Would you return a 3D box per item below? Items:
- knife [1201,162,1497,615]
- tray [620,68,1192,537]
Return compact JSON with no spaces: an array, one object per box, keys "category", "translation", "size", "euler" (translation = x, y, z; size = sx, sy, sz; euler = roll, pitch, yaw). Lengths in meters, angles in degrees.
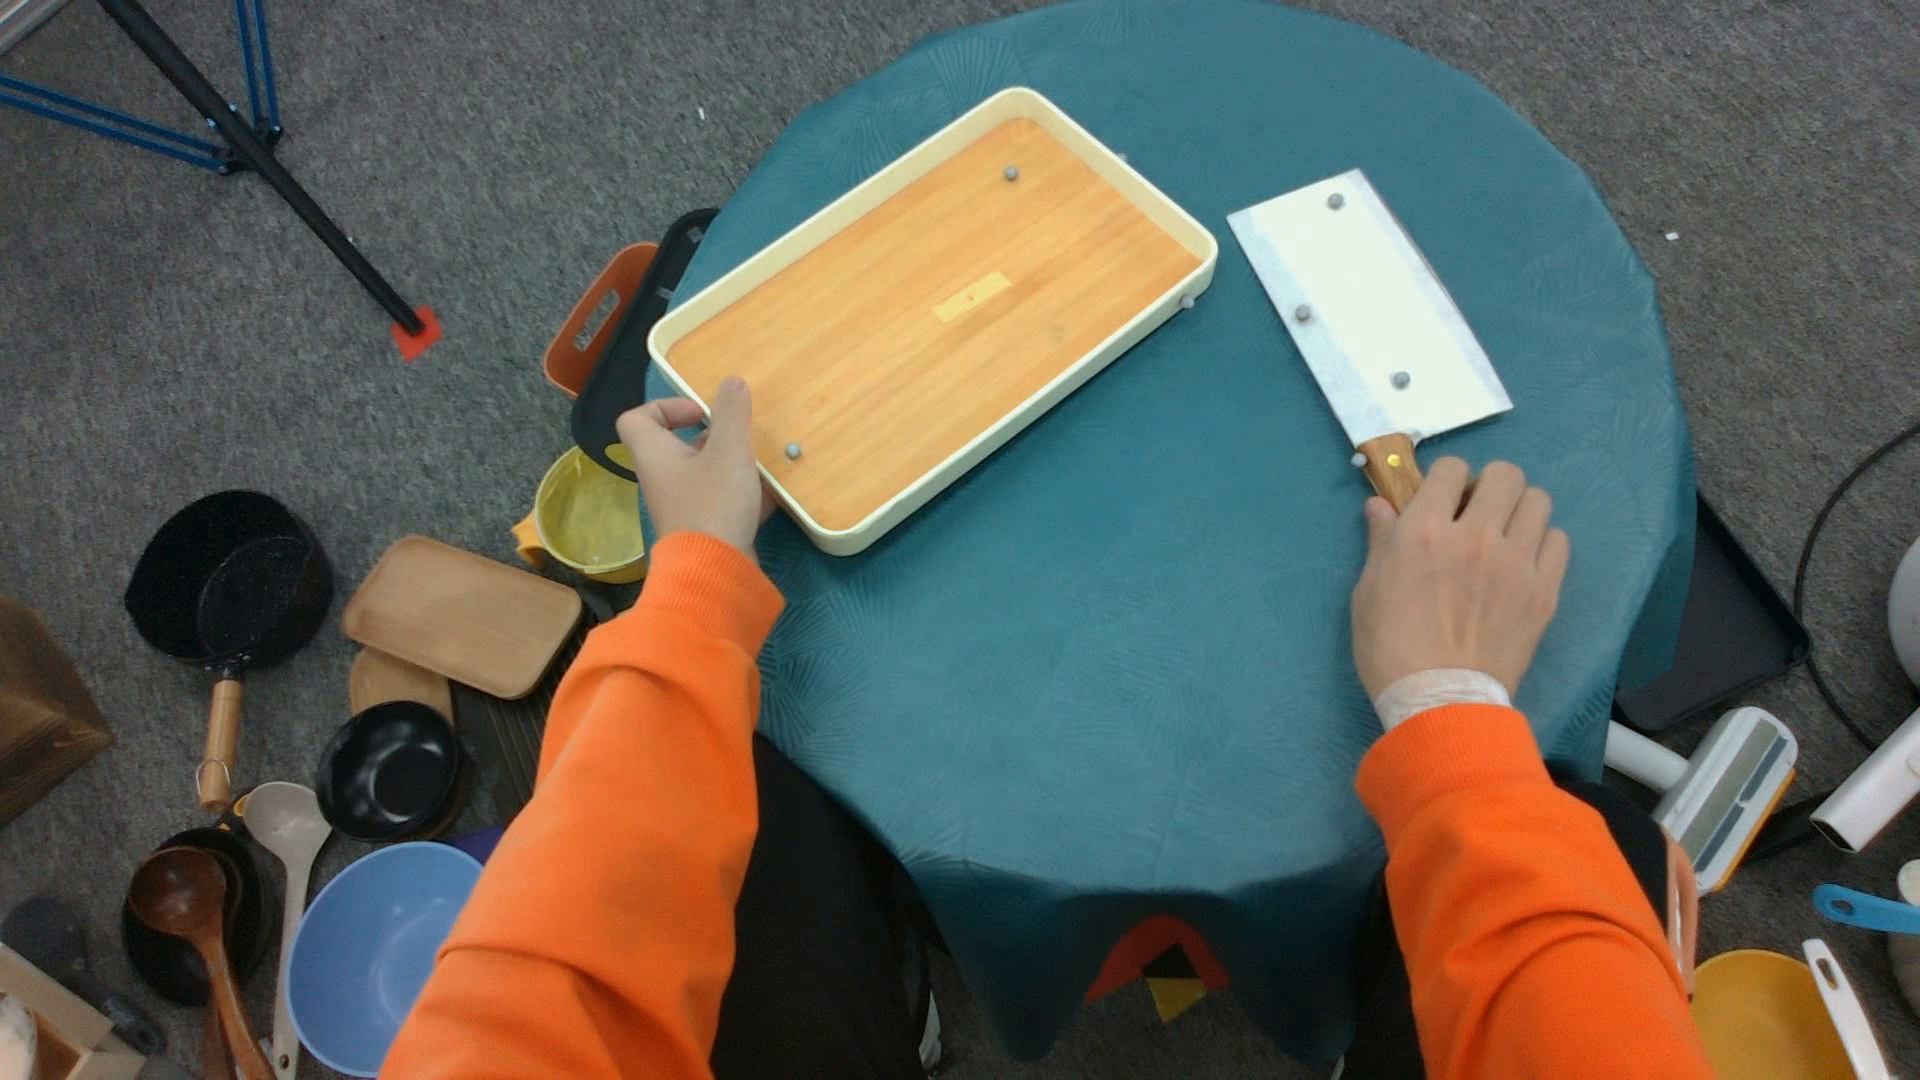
[{"category":"knife","translation":[0.237,-0.101,0.781],"size":[0.093,0.021,0.306],"euler":[-20,62,-4]},{"category":"tray","translation":[-0.029,-0.150,0.814],"size":[0.301,0.027,0.192],"euler":[-38,68,-16]}]
